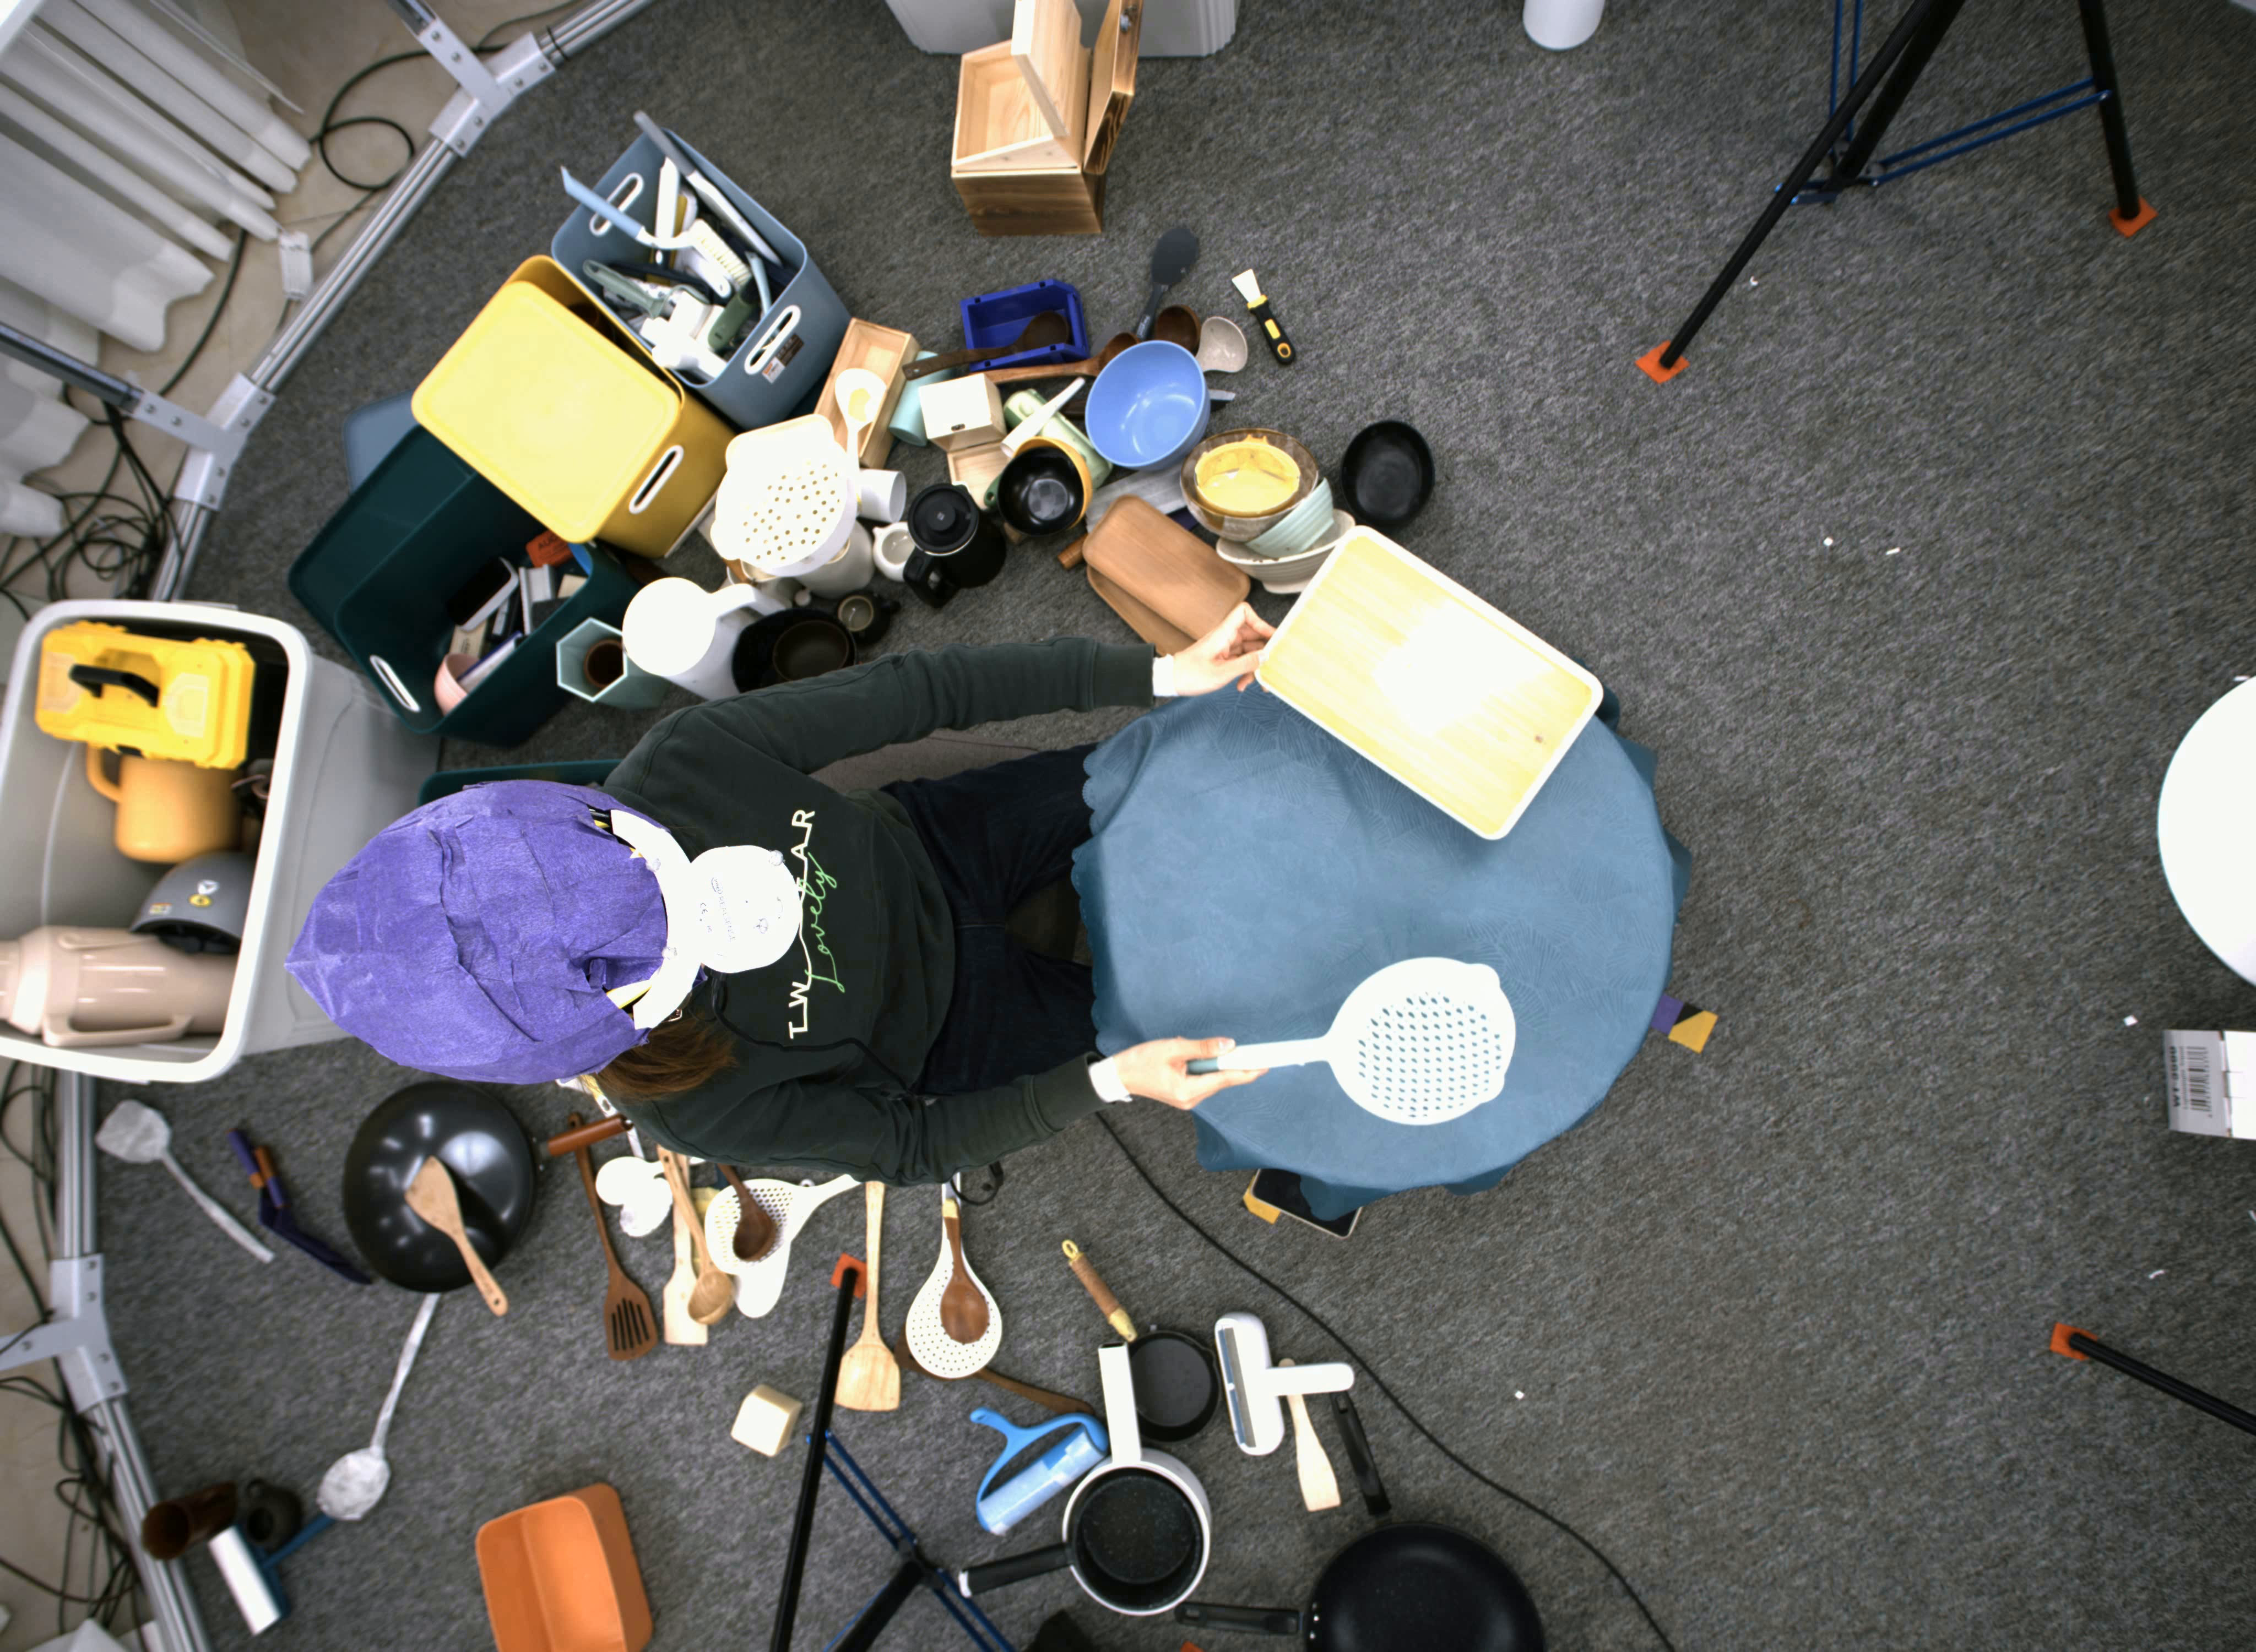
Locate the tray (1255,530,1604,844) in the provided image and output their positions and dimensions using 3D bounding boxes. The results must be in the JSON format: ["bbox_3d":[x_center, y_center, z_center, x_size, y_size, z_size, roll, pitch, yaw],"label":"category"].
[{"bbox_3d":[0.296,-0.140,1.359,0.299,0.027,0.192,36,94,7],"label":"tray"}]

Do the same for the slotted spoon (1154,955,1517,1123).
[{"bbox_3d":[0.187,0.214,1.313,0.361,0.077,0.165,-6,51,18],"label":"slotted spoon"}]
